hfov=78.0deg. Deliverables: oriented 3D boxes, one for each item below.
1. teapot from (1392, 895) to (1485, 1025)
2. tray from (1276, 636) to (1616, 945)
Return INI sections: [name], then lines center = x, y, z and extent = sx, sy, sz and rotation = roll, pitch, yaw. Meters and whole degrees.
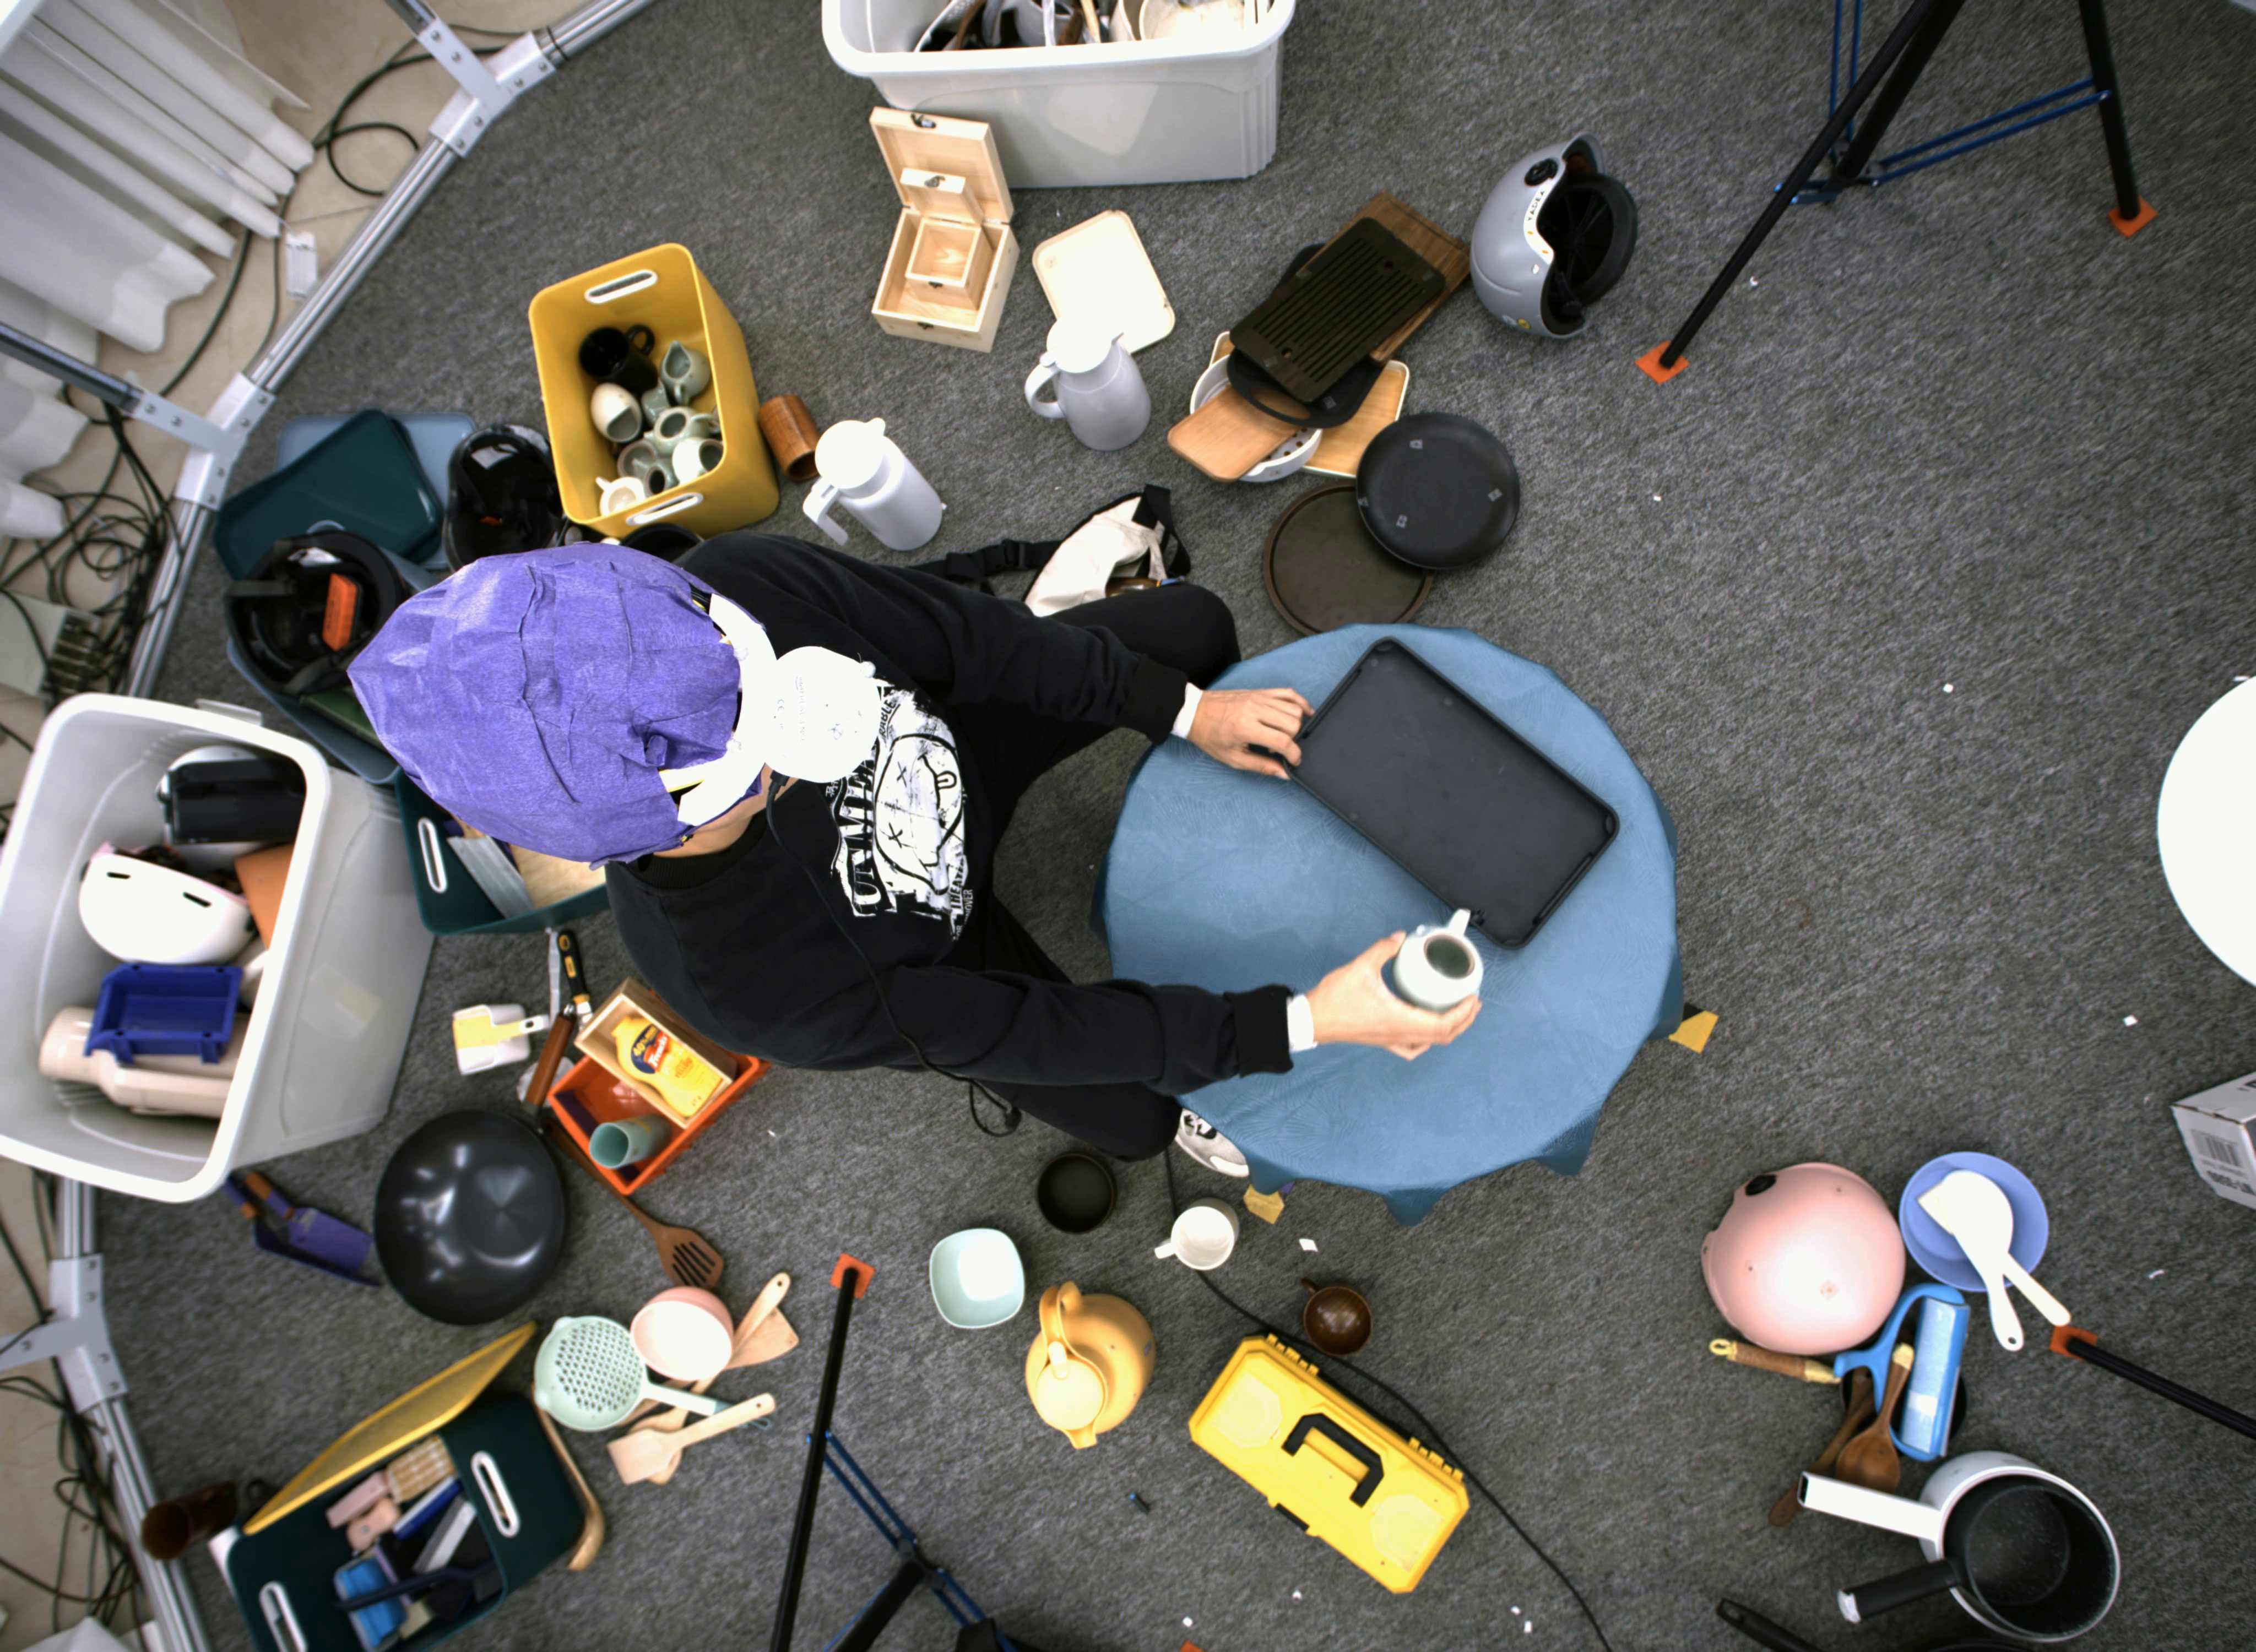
[teapot]
center = 0.298, 0.133, 1.322
extent = 0.088, 0.076, 0.140
rotation = 27, 55, 7
[tray]
center = 0.326, -0.039, 1.424
extent = 0.317, 0.037, 0.185
rotation = 37, 93, 6
